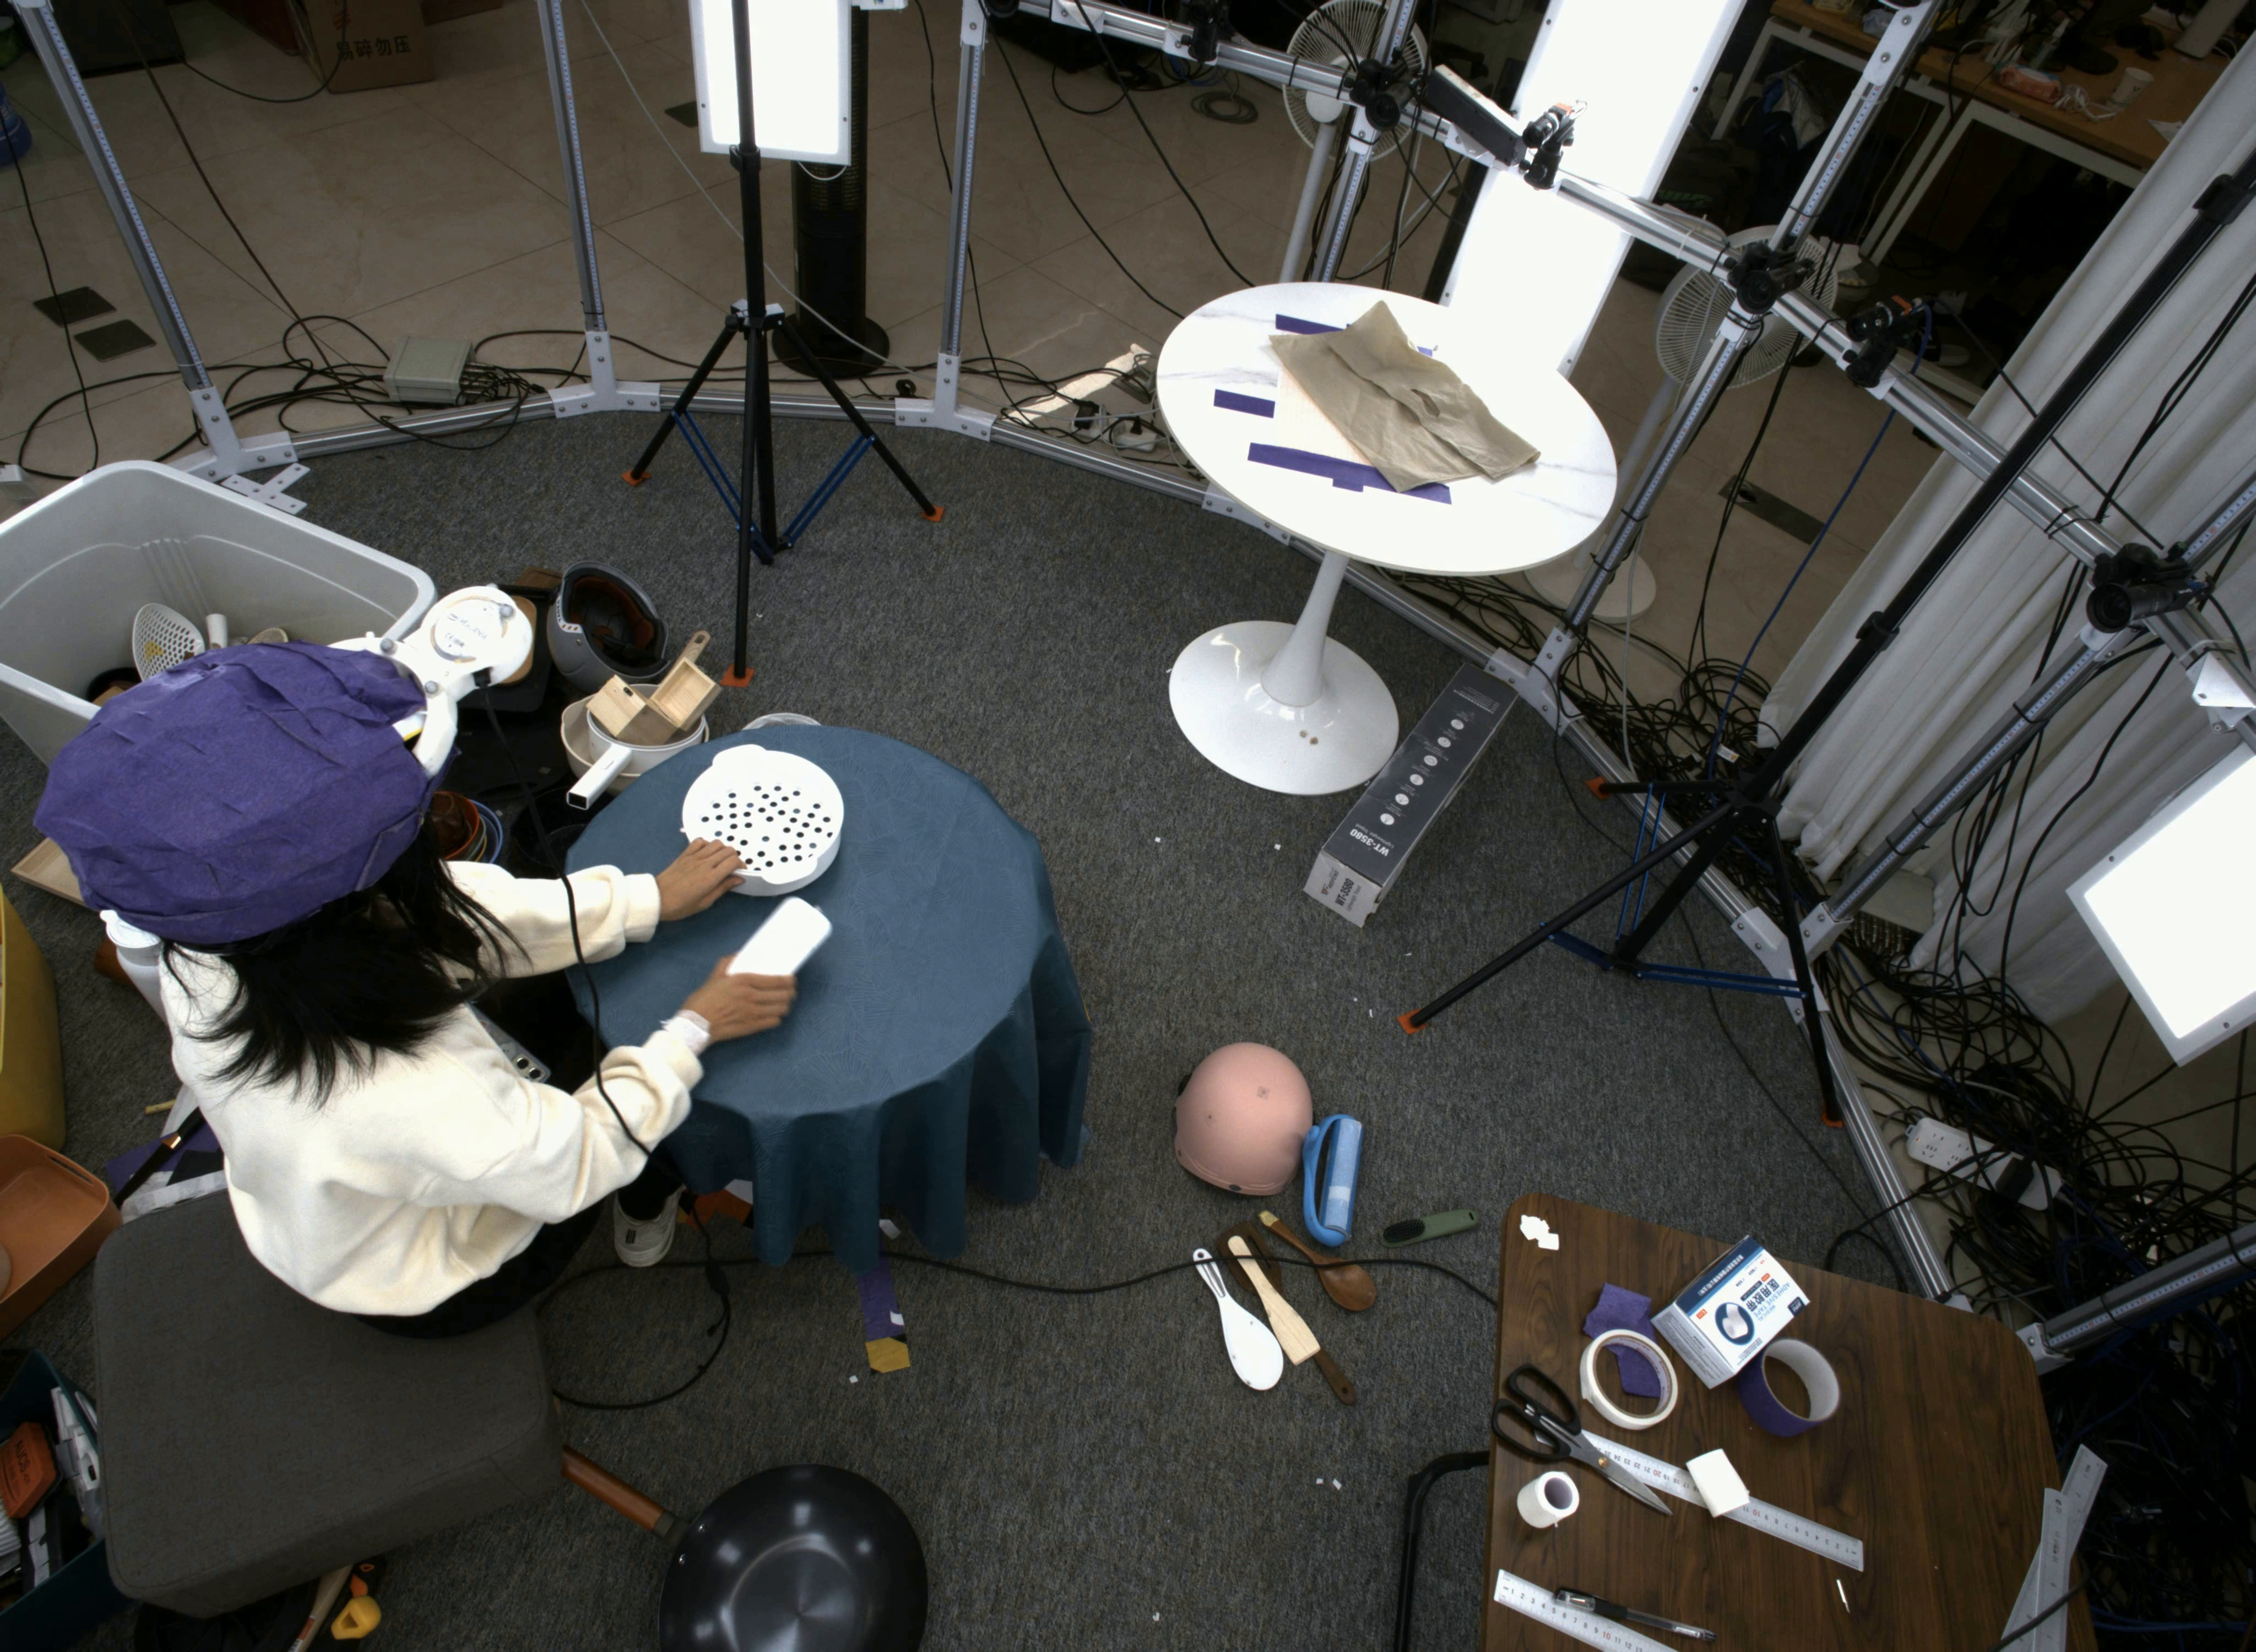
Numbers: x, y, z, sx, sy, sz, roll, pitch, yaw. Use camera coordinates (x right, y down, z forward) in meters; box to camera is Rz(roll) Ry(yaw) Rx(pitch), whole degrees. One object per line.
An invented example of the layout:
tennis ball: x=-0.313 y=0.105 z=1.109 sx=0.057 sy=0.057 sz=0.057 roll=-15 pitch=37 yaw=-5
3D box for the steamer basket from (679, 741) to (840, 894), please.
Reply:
steamer basket: x=-0.473 y=-0.007 z=1.668 sx=0.203 sy=0.070 sz=0.224 roll=-19 pitch=60 yaw=-26

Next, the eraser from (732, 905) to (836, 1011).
eraser: x=-0.409 y=0.154 z=1.538 sx=0.063 sy=0.035 sz=0.131 roll=40 pitch=68 yaw=4
